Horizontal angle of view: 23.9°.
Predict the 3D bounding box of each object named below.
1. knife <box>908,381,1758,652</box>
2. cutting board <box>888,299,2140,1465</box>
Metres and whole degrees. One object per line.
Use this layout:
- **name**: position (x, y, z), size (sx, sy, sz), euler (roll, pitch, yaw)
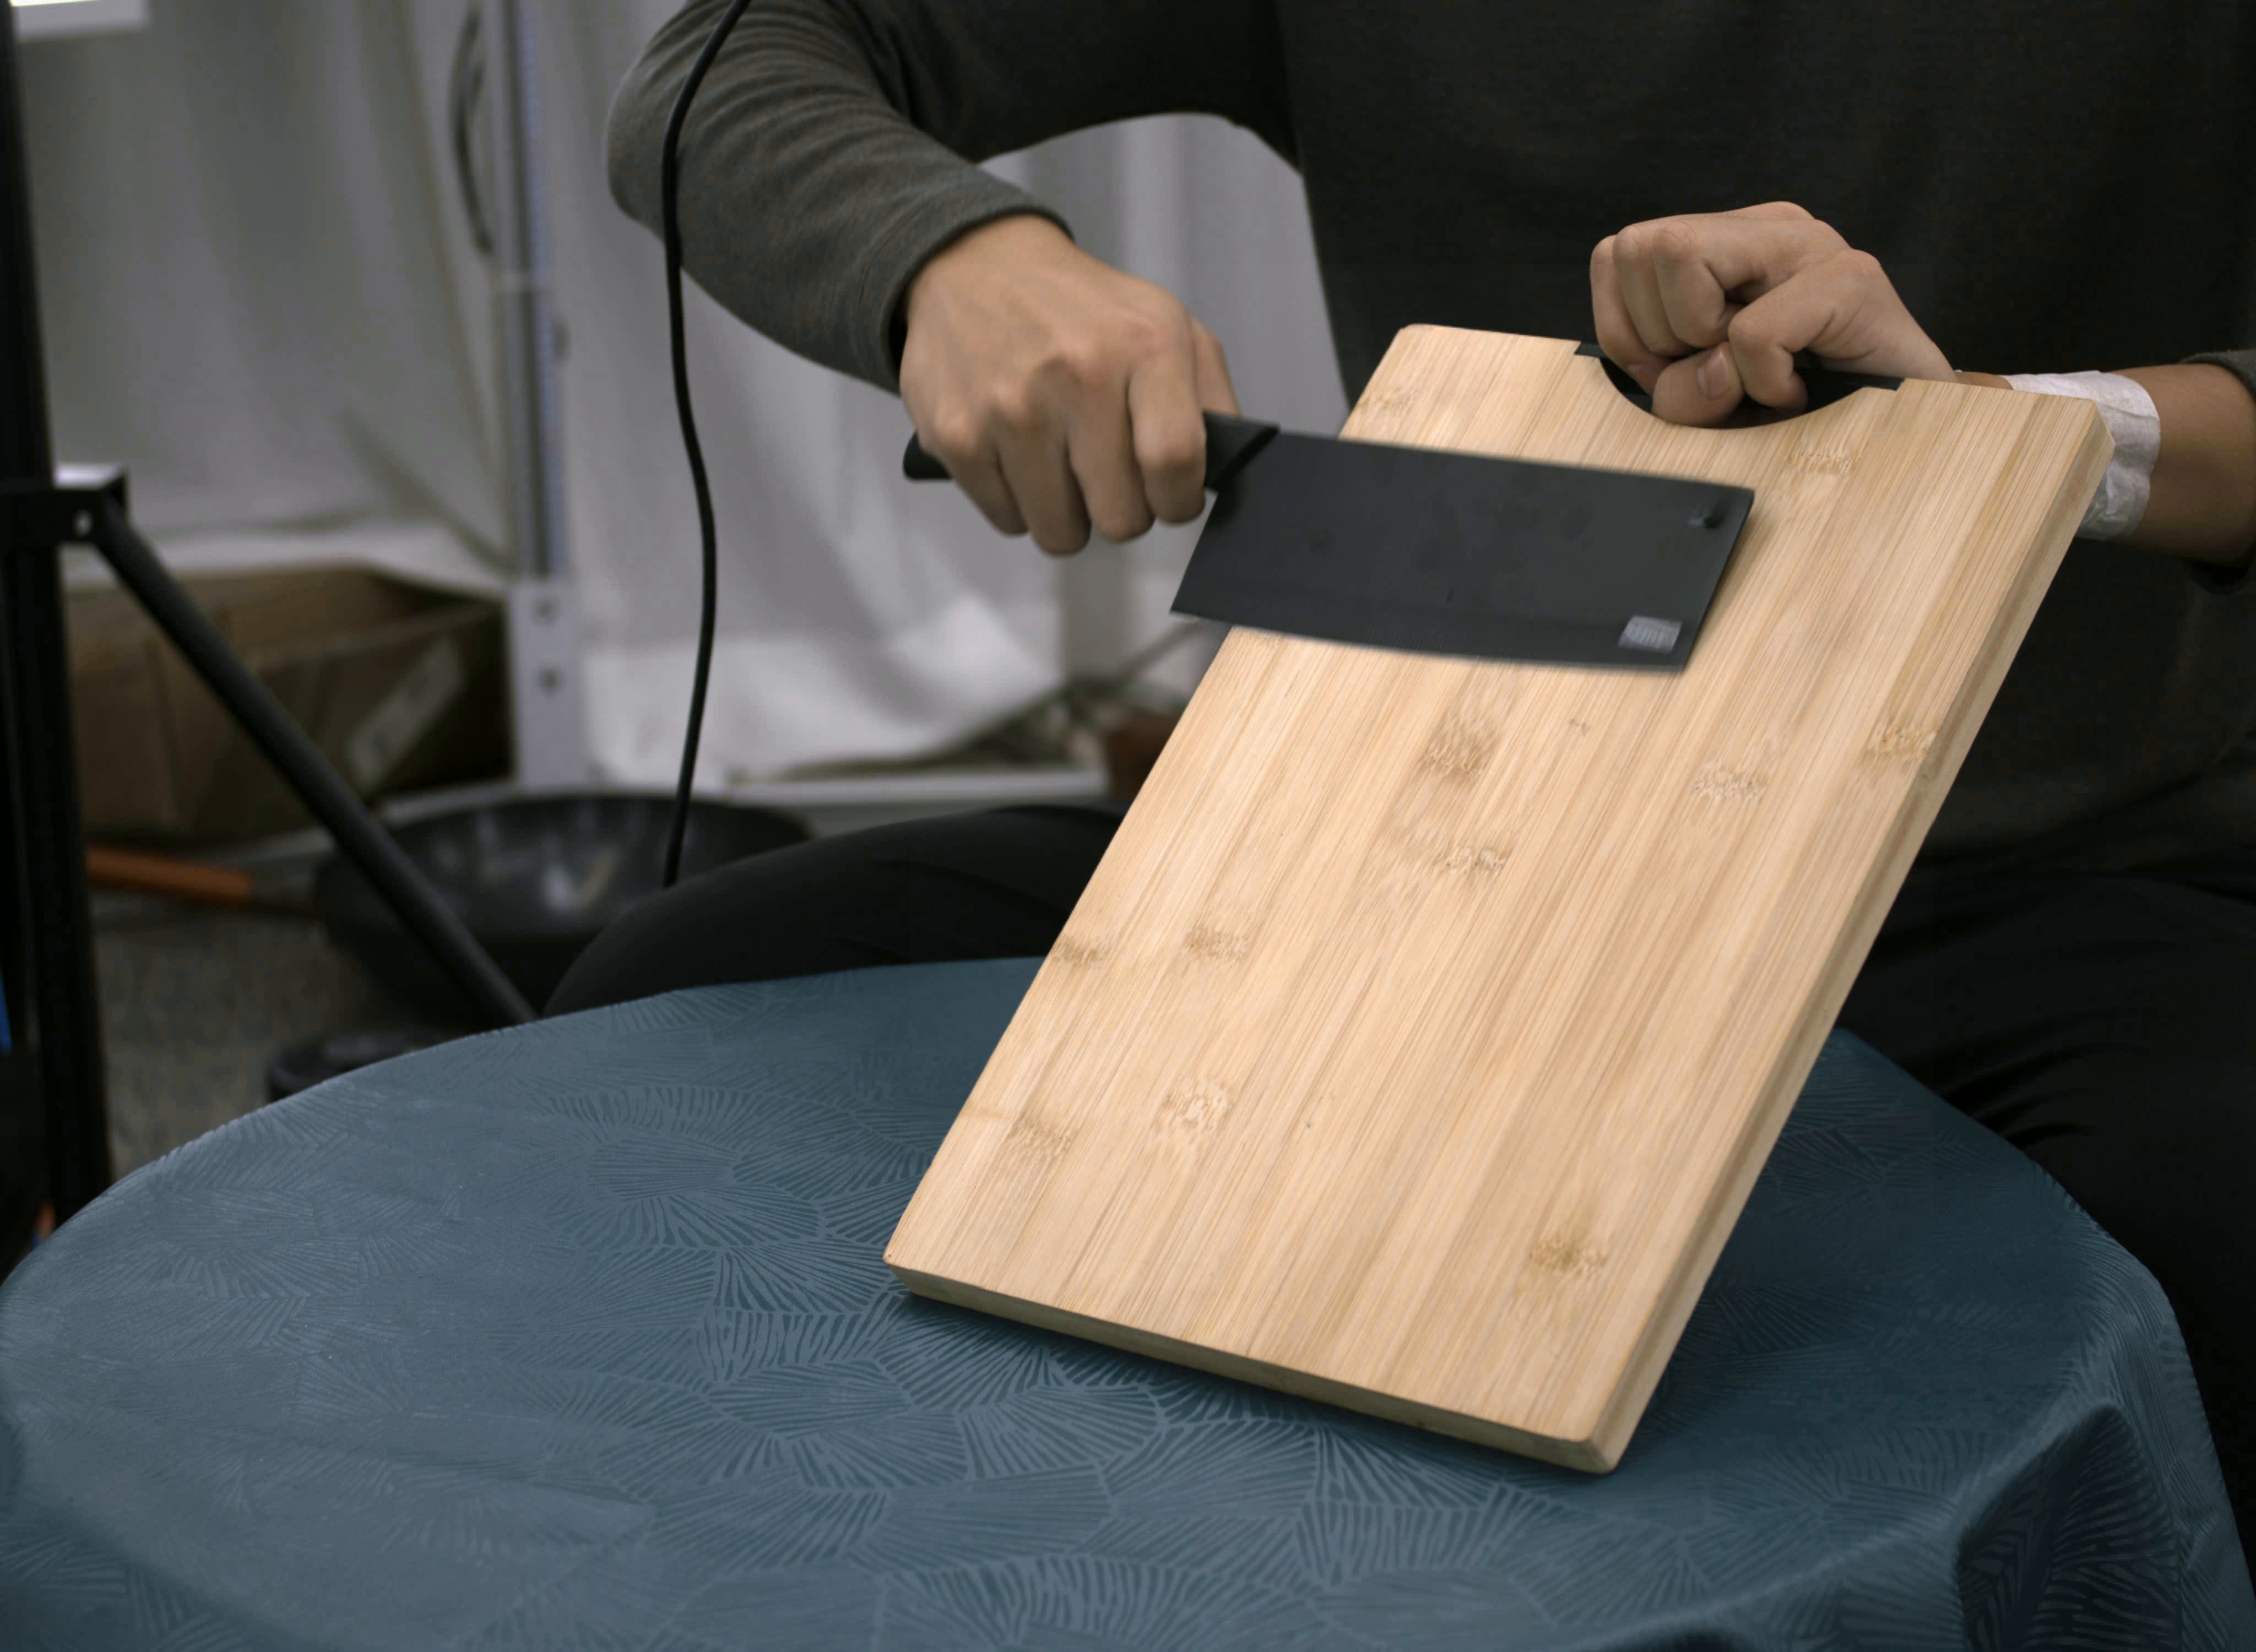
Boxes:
- **knife**: position (0.051, -0.094, 1.572), size (0.309, 0.081, 0.020), euler (15, -19, 41)
- **cutting board**: position (0.106, 0.003, 1.475), size (0.256, 0.023, 0.348), euler (10, 61, 38)
